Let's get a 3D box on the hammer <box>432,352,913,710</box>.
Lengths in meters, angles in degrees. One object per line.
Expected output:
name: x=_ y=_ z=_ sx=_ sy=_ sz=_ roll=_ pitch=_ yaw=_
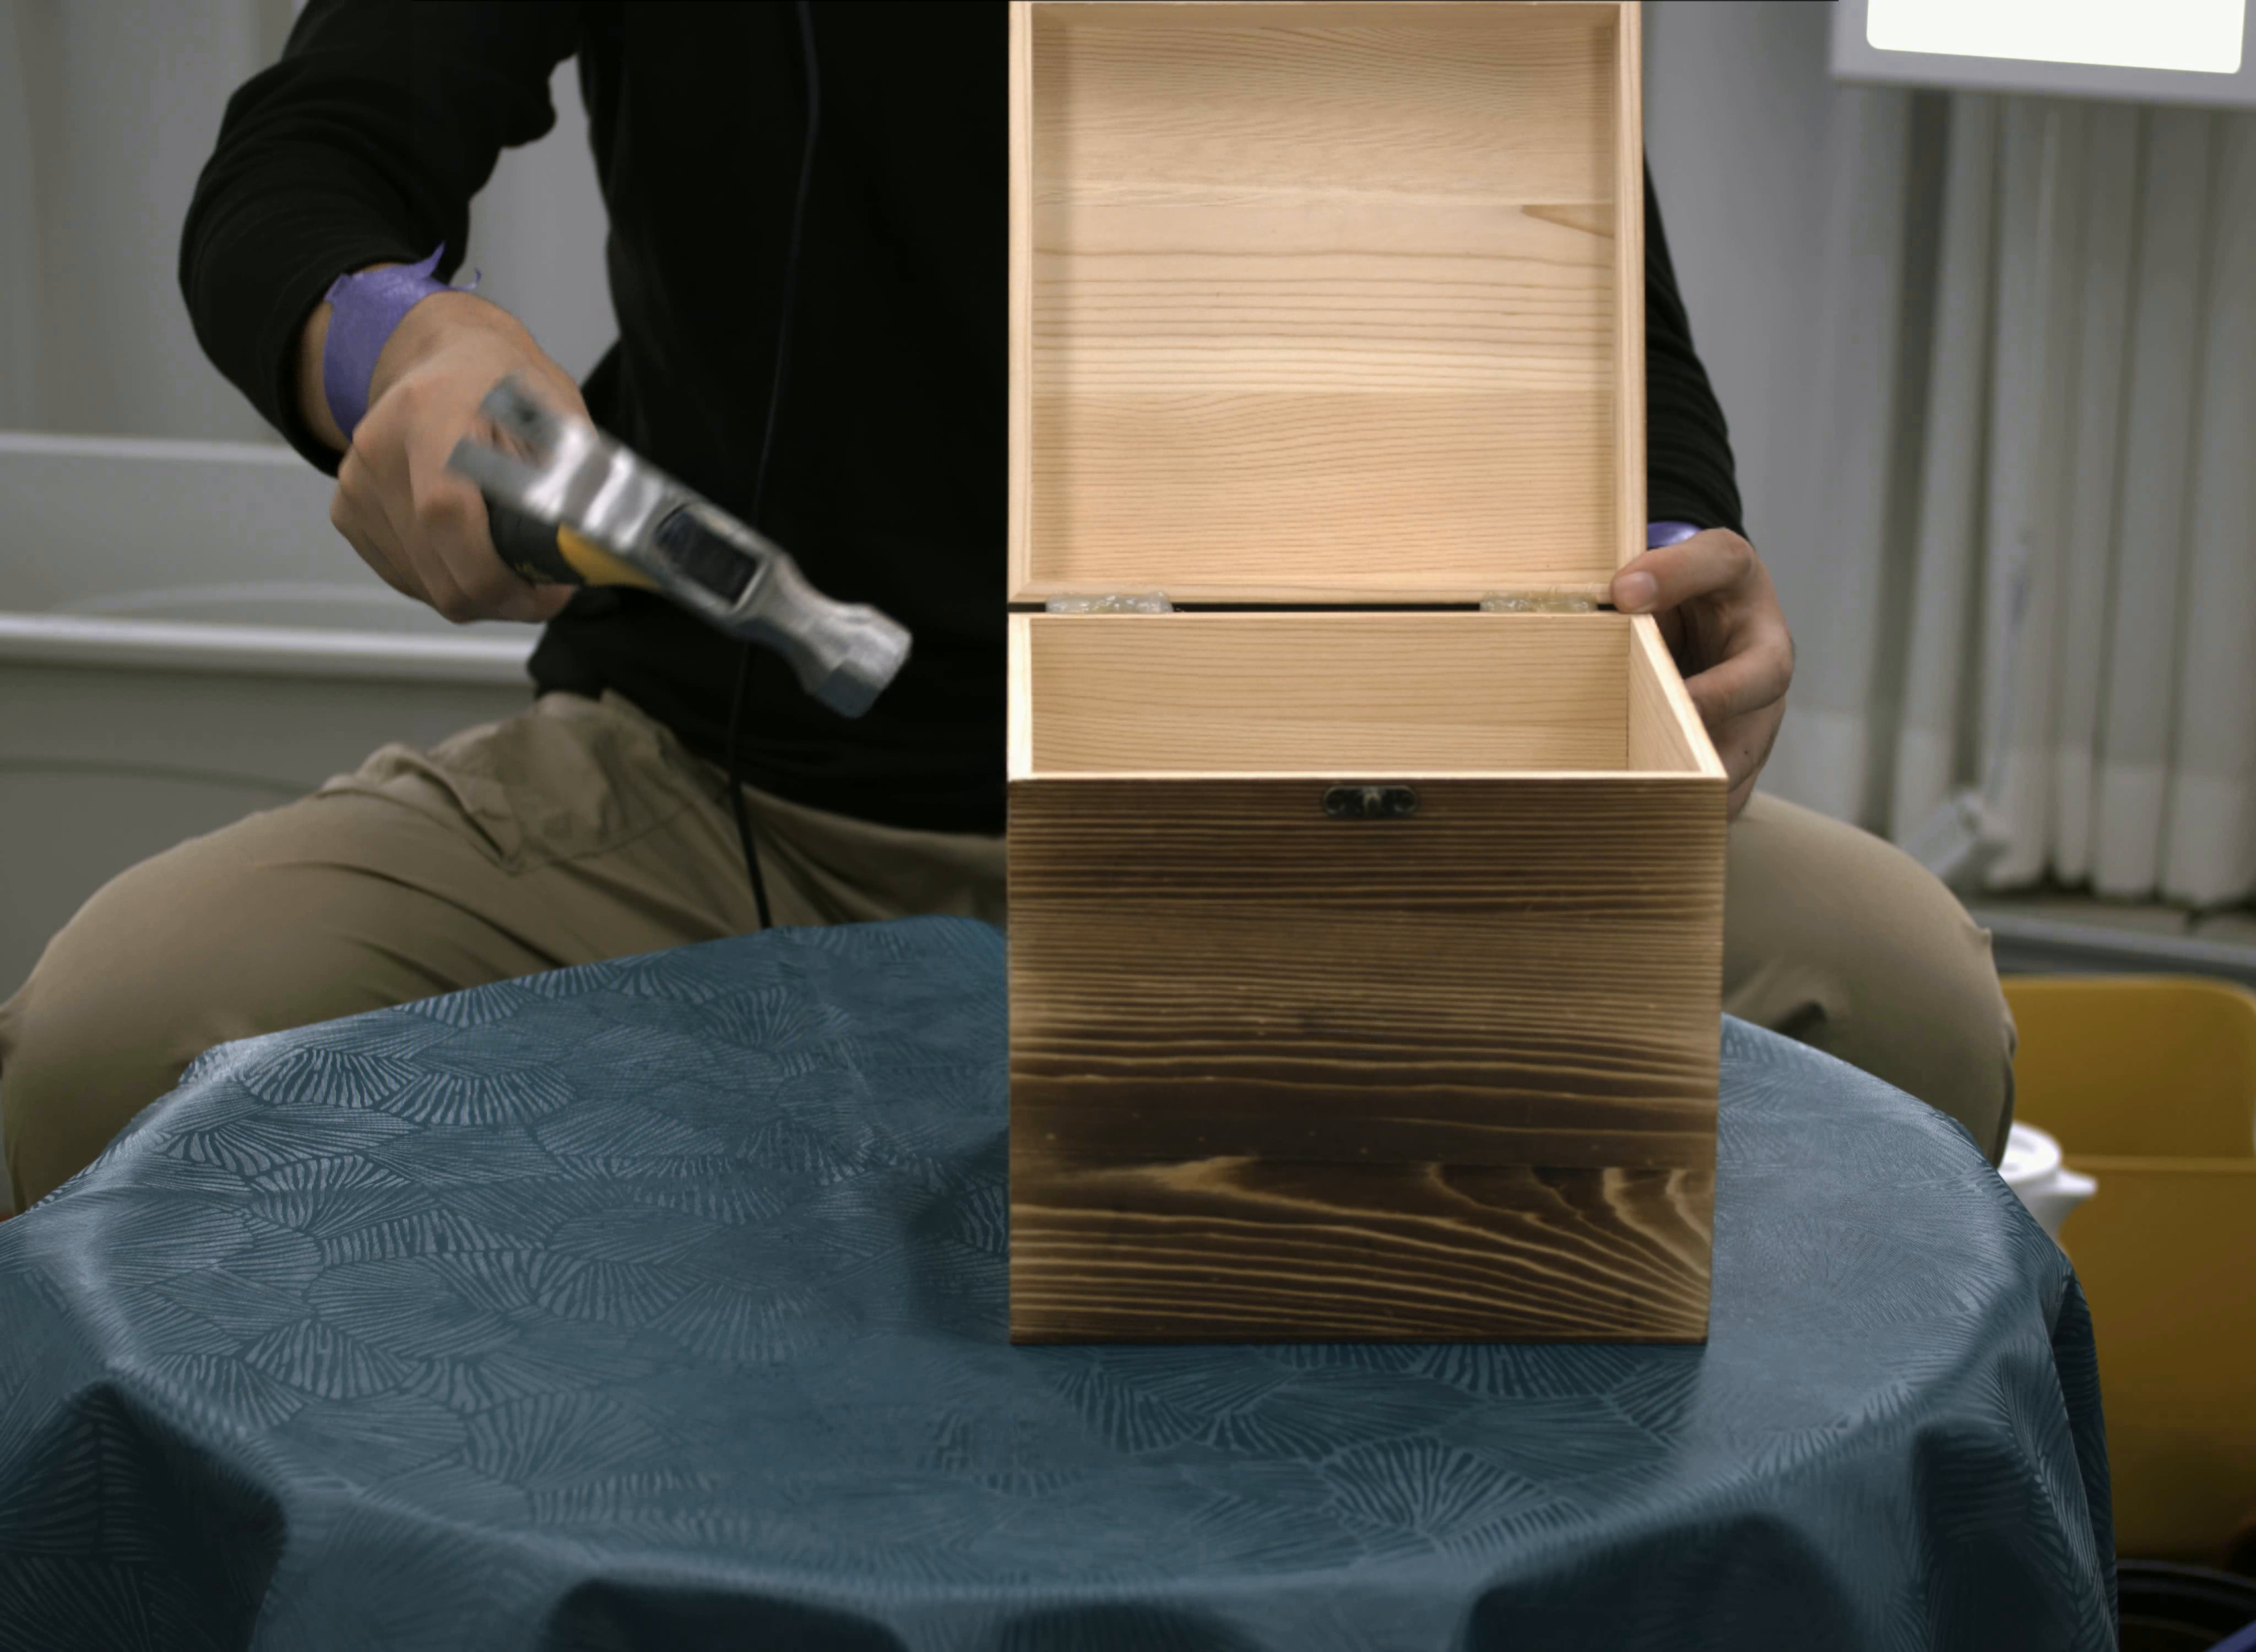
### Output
hammer: x=-0.164 y=-0.093 z=1.601 sx=0.132 sy=0.032 sz=0.336 roll=36 pitch=-6 yaw=-17

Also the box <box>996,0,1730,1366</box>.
box: x=0.063 y=-0.066 z=1.589 sx=0.208 sy=0.378 sz=0.320 roll=0 pitch=16 yaw=-1
